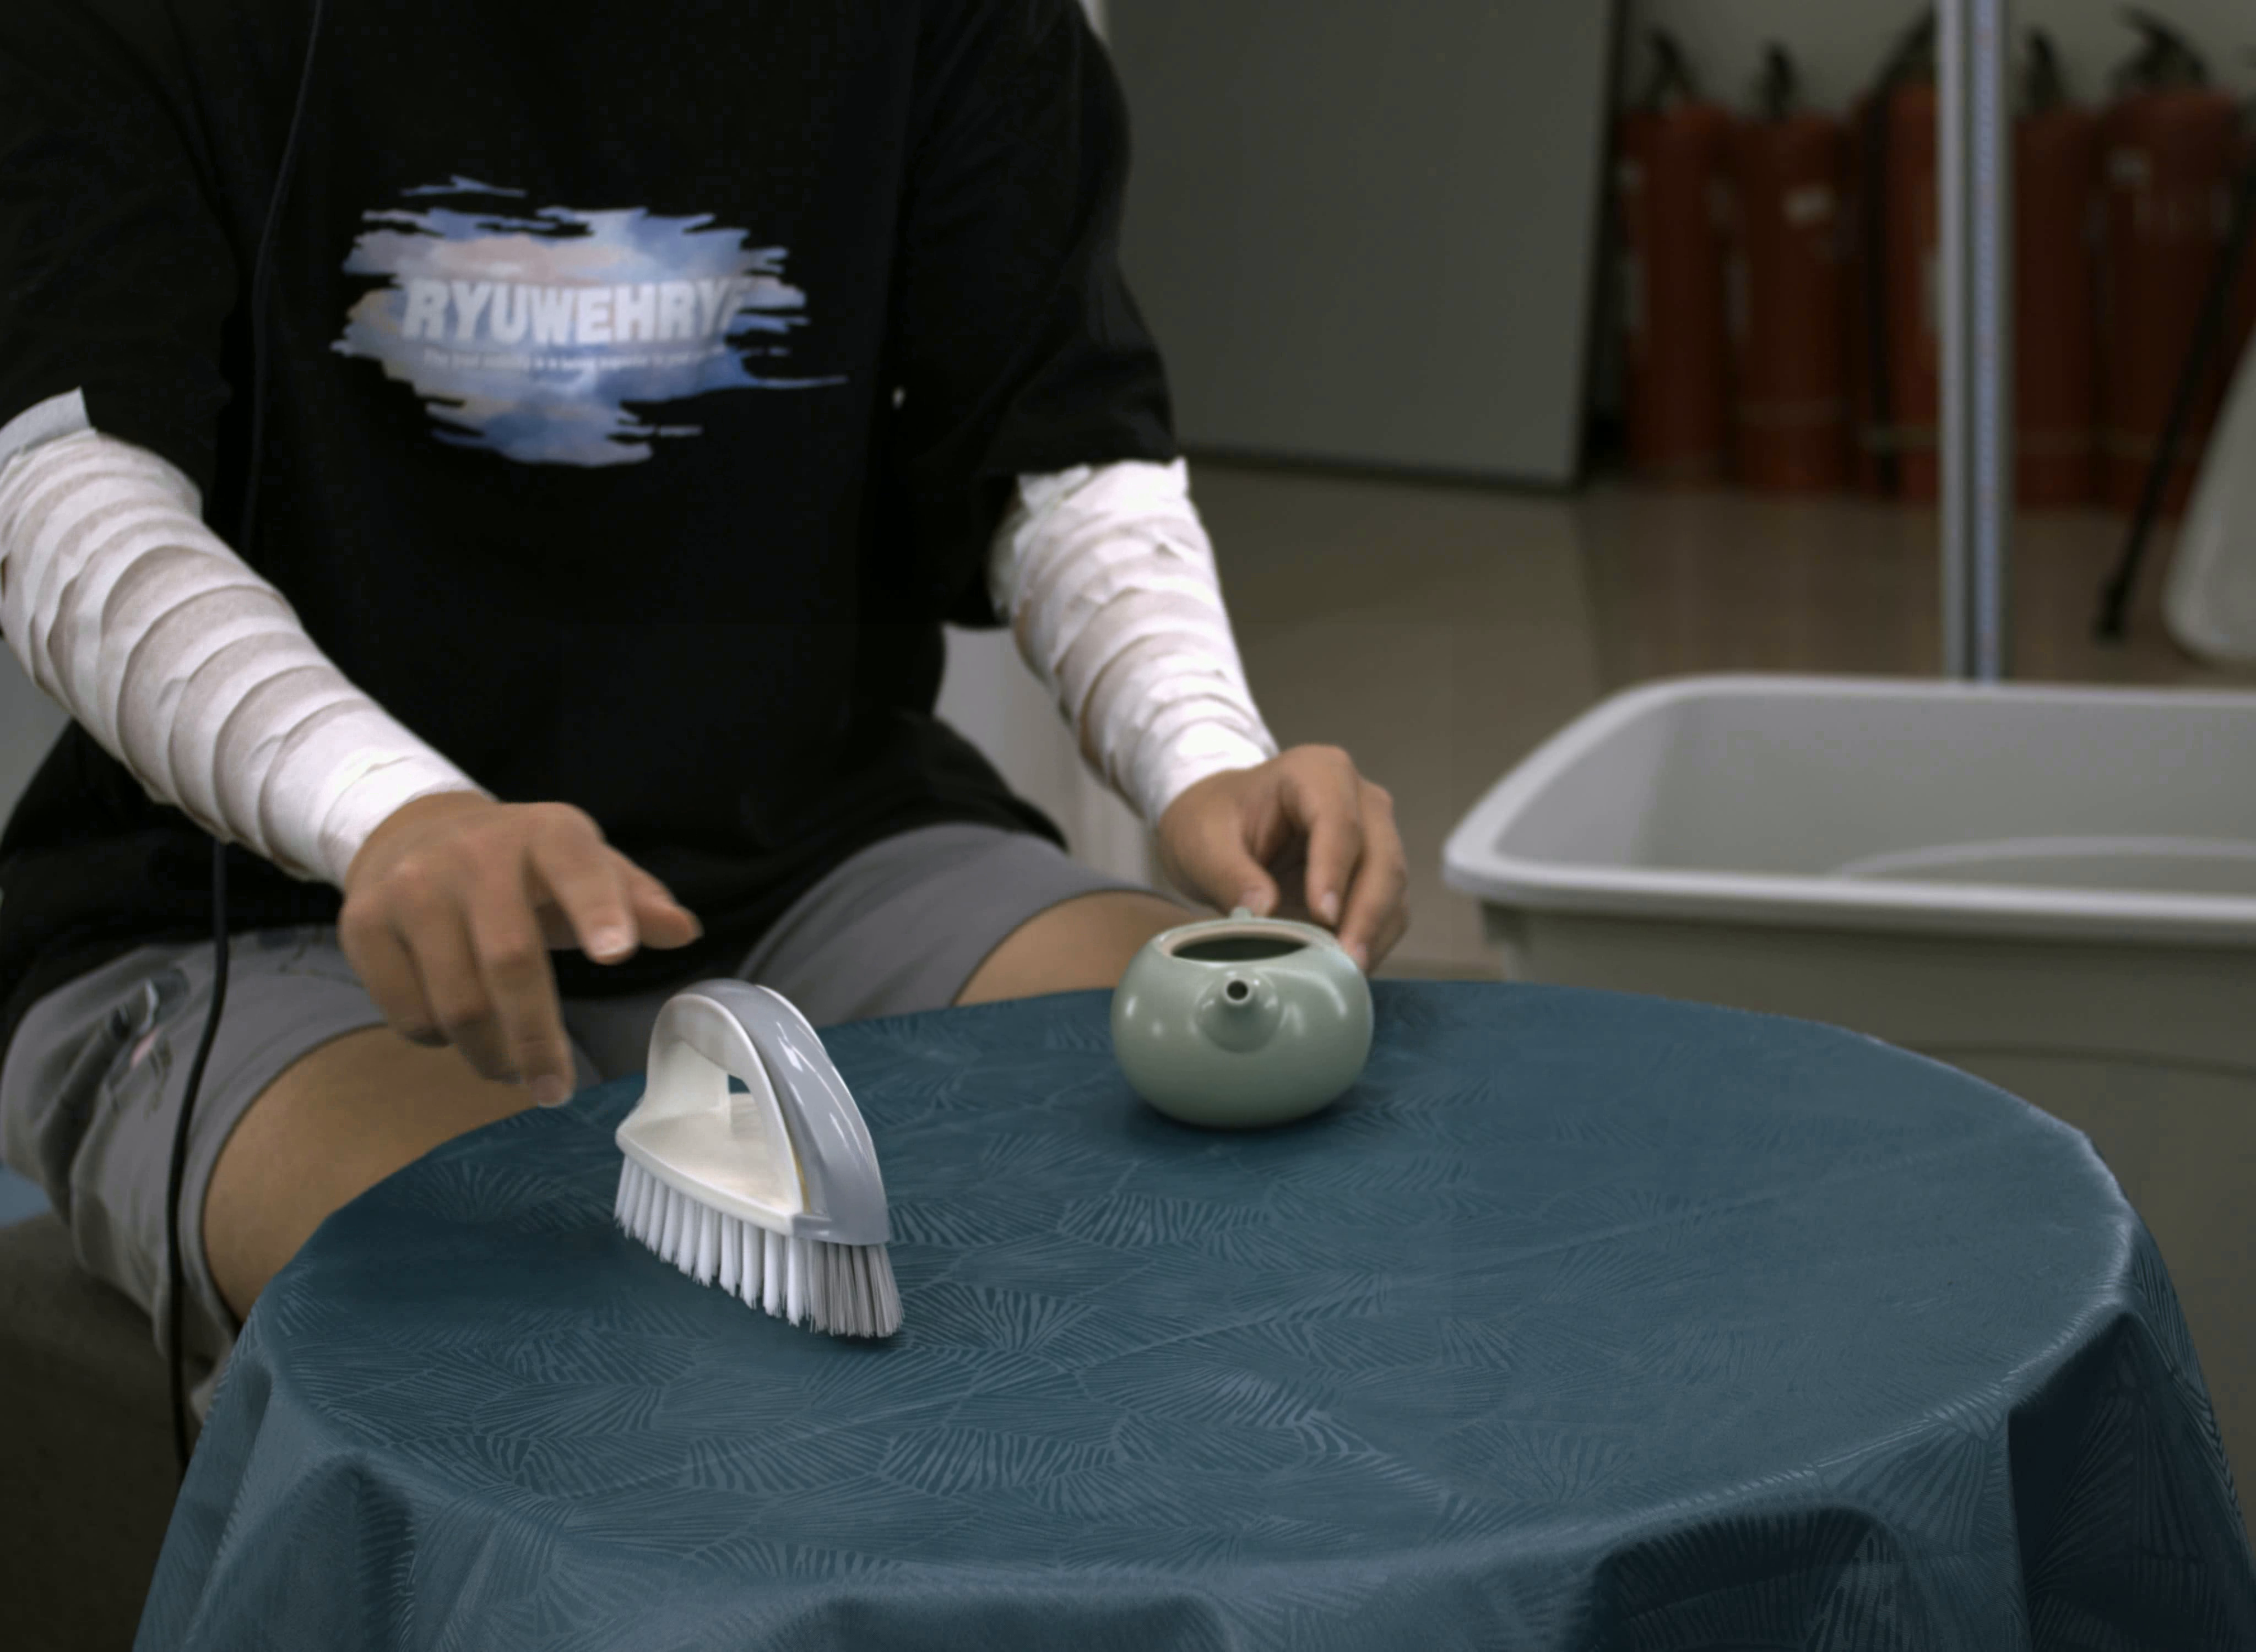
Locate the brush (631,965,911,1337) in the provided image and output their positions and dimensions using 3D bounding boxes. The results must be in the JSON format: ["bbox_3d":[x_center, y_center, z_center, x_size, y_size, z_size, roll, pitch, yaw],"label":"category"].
[{"bbox_3d":[-0.109,0.098,1.706,0.060,0.095,0.177,-12,17,-21],"label":"brush"}]

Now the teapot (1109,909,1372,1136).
[{"bbox_3d":[0.040,0.067,1.858,0.091,0.061,0.128,-4,13,8],"label":"teapot"}]
